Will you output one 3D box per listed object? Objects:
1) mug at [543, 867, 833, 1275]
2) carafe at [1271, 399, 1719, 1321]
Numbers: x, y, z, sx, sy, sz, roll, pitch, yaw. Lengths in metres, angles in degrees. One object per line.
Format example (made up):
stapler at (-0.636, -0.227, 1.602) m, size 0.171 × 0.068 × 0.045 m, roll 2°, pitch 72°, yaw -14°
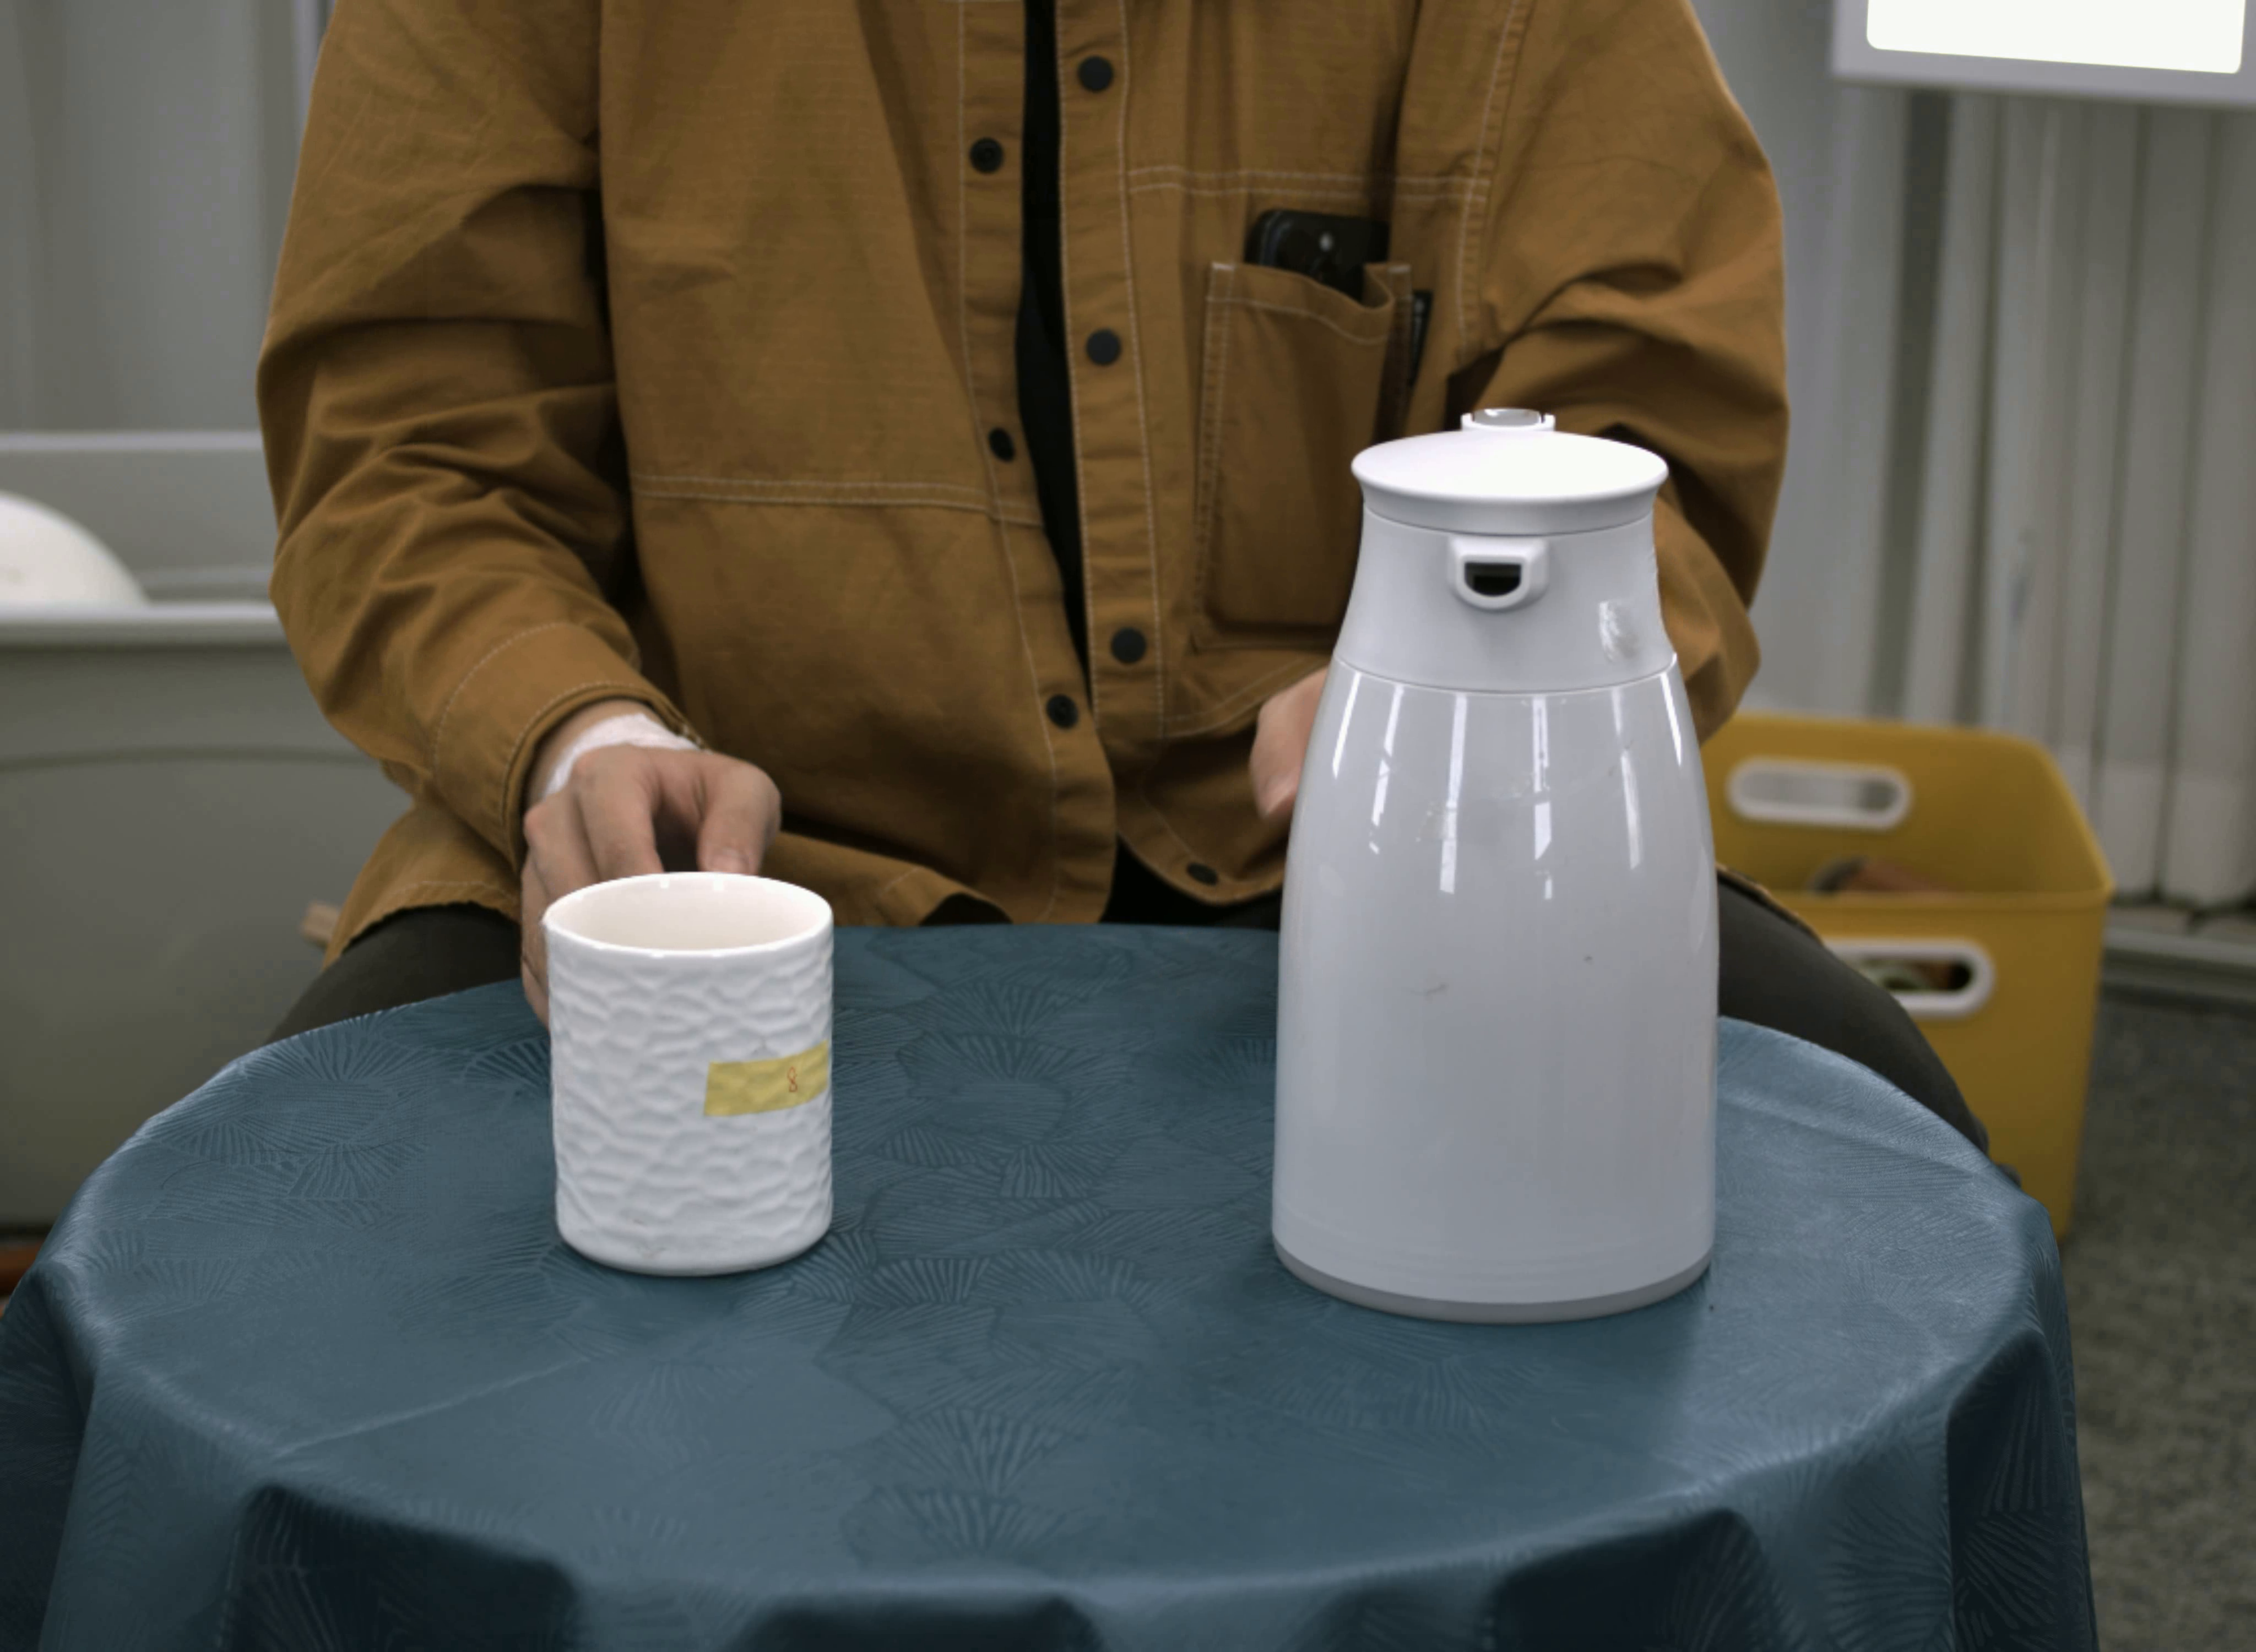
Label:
mug at (-0.136, 0.069, 1.581) m, size 0.085 × 0.103 × 0.117 m, roll -7°, pitch 18°, yaw -22°
carafe at (0.110, 0.001, 1.559) m, size 0.132 × 0.250 × 0.167 m, roll 1°, pitch 16°, yaw 5°
